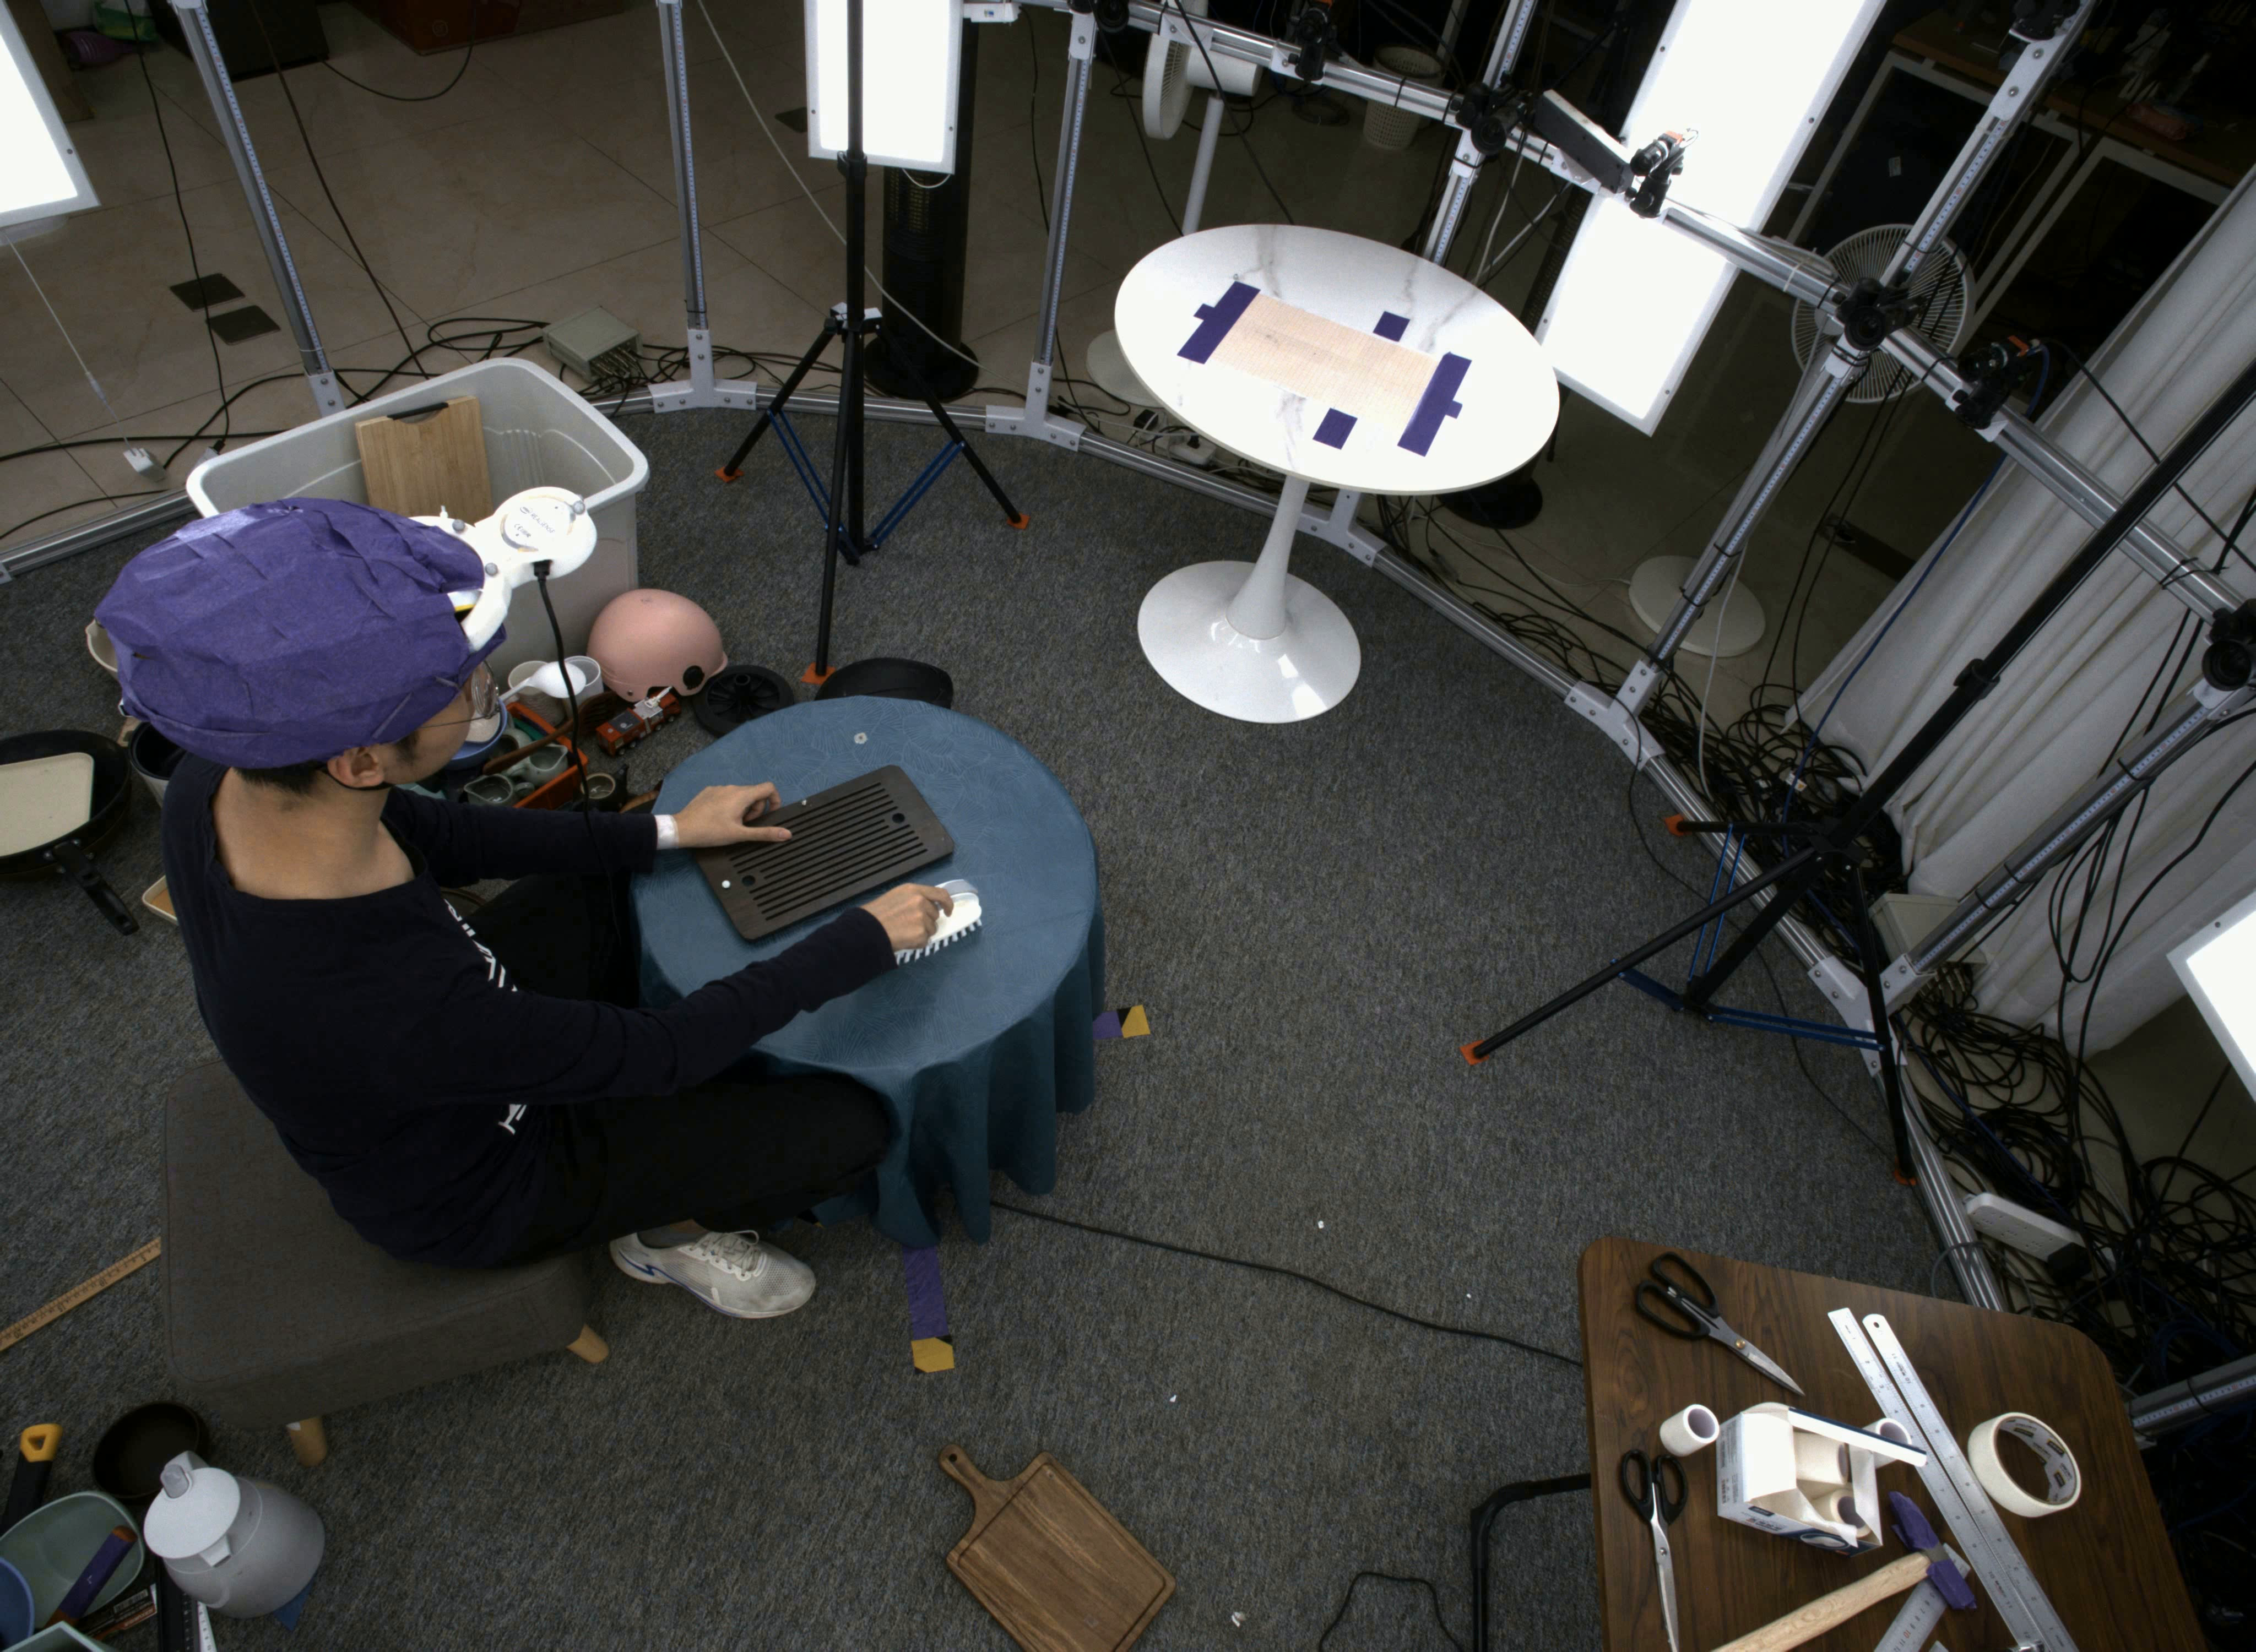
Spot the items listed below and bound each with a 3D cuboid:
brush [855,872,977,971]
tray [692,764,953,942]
[{"bbox_3d":[-0.268,0.113,1.625,0.176,0.096,0.060,-30,65,-29],"label":"brush"},{"bbox_3d":[-0.397,0.030,1.699,0.307,0.019,0.166,-25,63,-28],"label":"tray"}]
